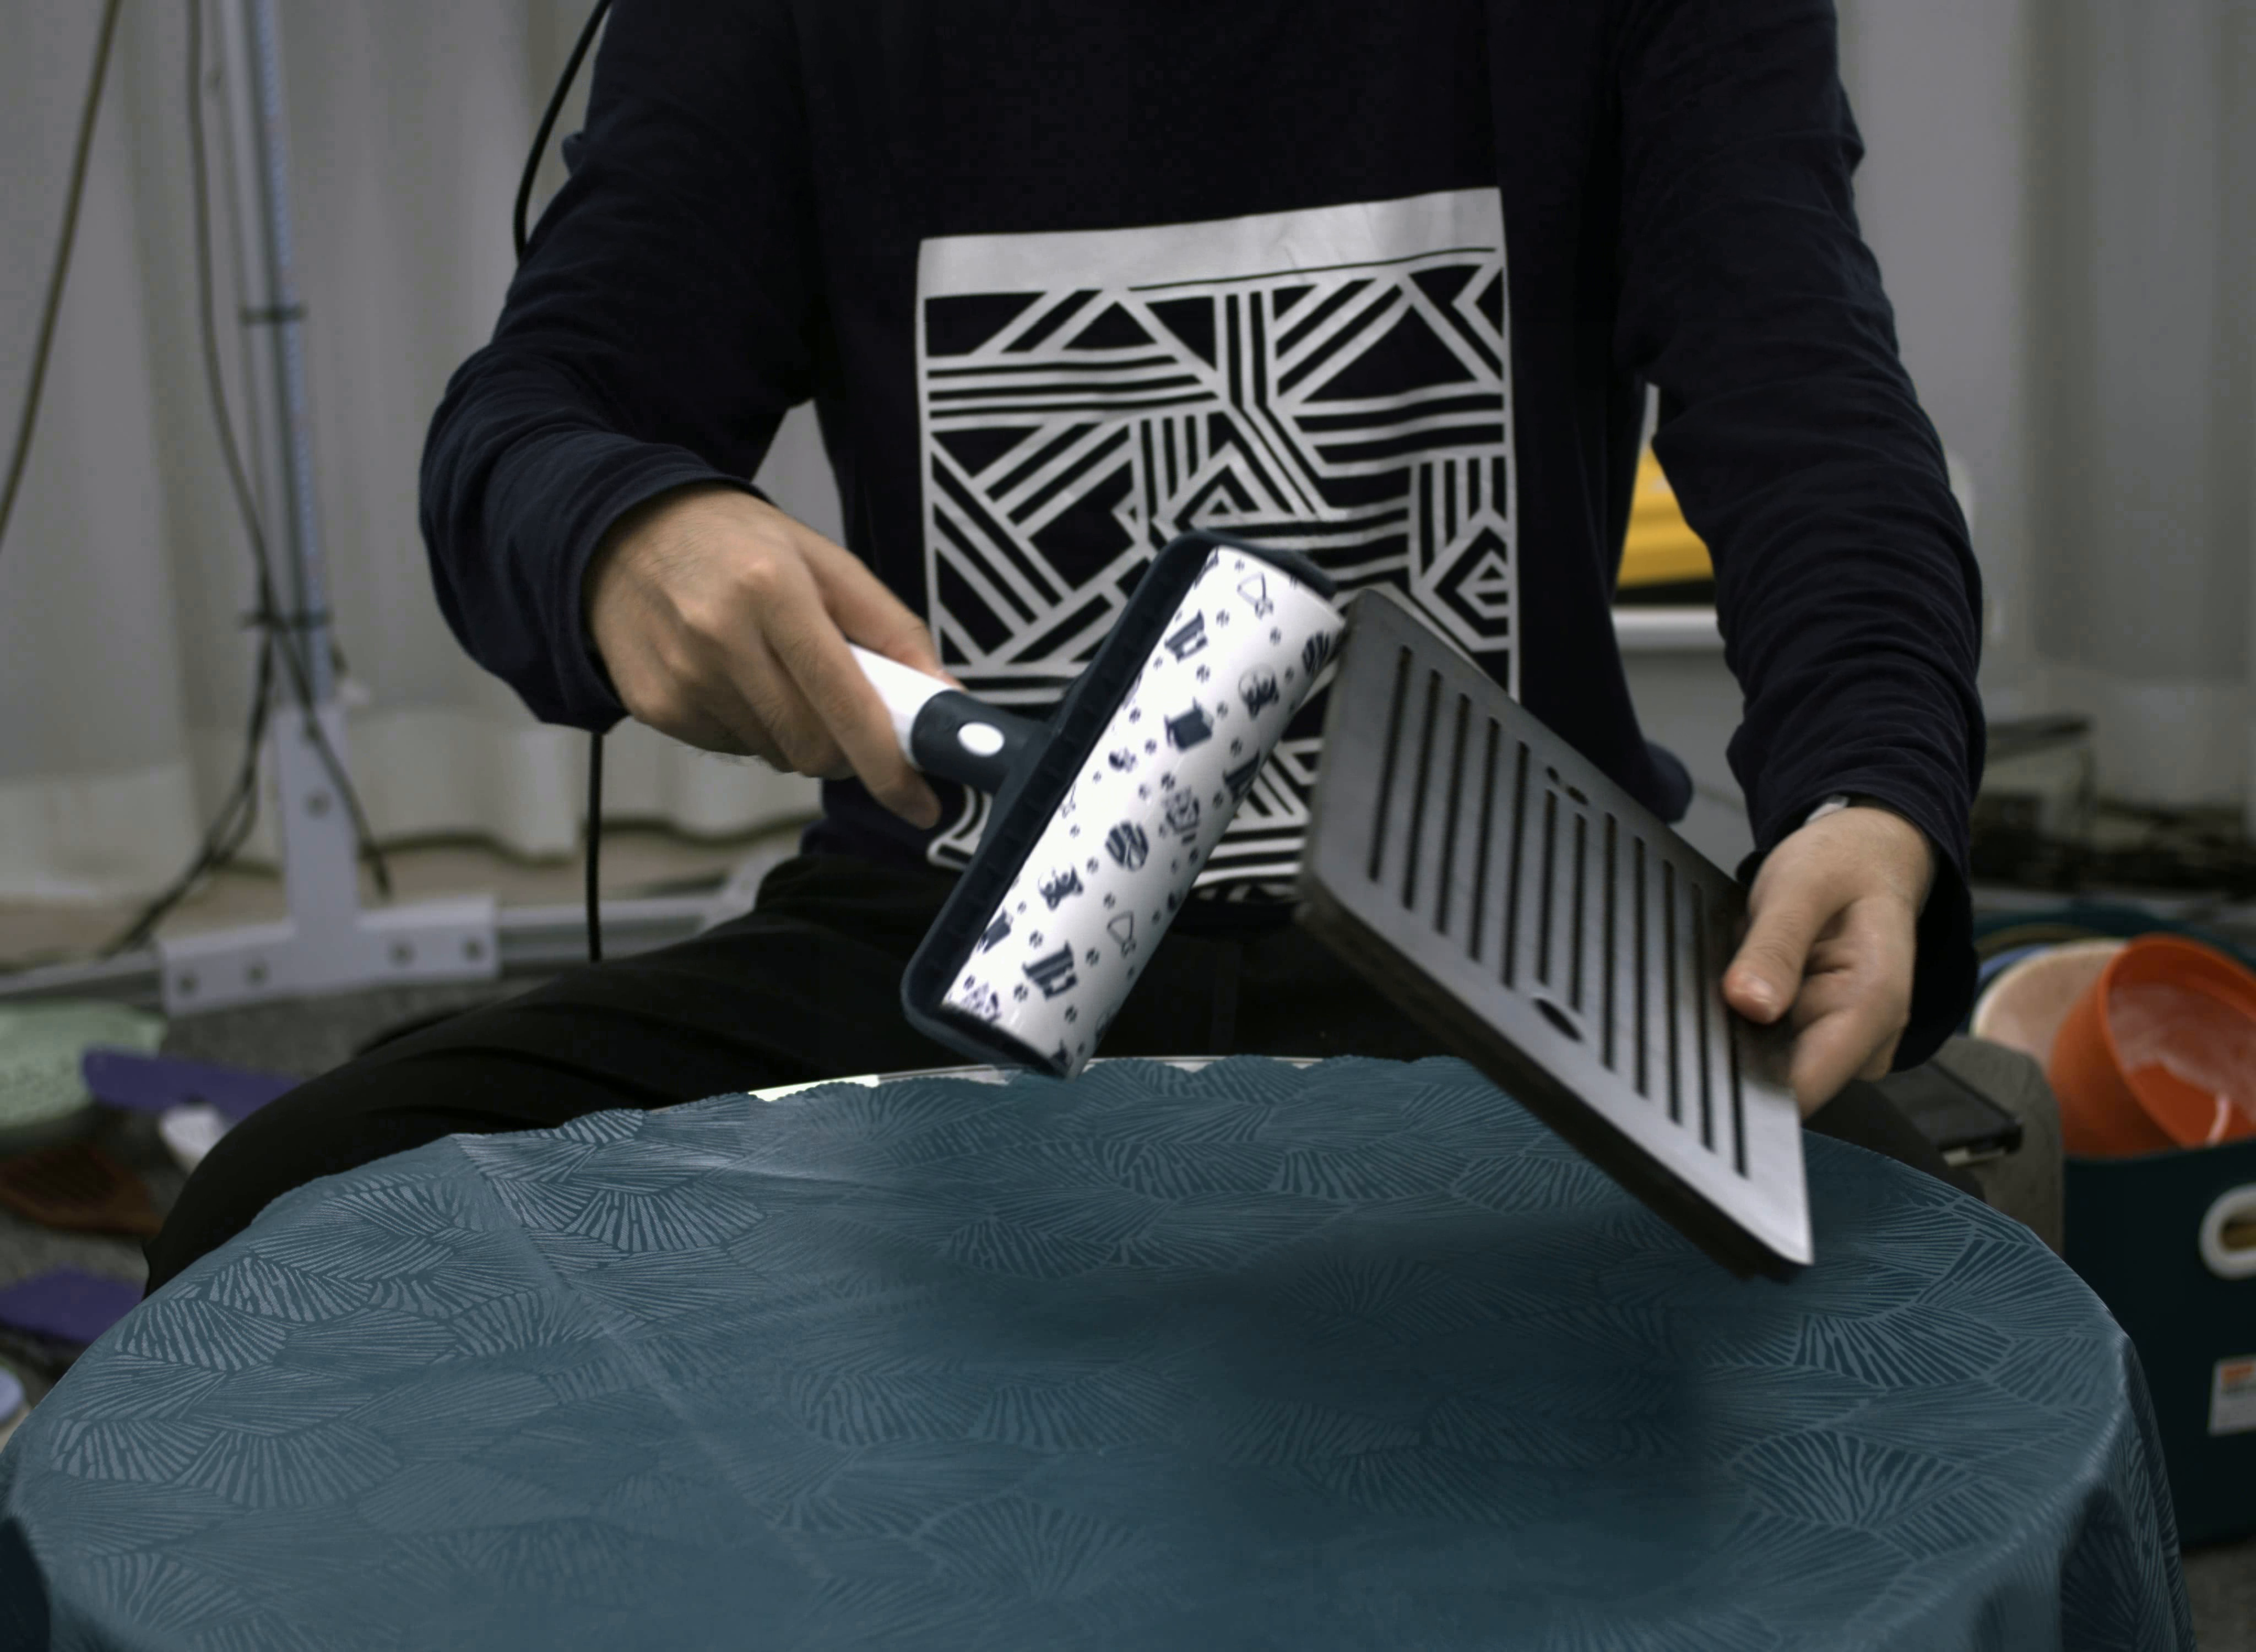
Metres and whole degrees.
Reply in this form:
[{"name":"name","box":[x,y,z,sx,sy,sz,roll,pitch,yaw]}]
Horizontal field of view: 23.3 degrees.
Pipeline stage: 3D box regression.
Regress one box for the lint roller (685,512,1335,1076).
[{"name":"lint roller","box":[-0.063,-0.034,1.687,0.249,0.177,0.050,21,-13,44]}]

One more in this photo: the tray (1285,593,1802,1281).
[{"name":"tray","box":[0.119,0.026,1.548,0.169,0.018,0.308,39,16,-5]}]
